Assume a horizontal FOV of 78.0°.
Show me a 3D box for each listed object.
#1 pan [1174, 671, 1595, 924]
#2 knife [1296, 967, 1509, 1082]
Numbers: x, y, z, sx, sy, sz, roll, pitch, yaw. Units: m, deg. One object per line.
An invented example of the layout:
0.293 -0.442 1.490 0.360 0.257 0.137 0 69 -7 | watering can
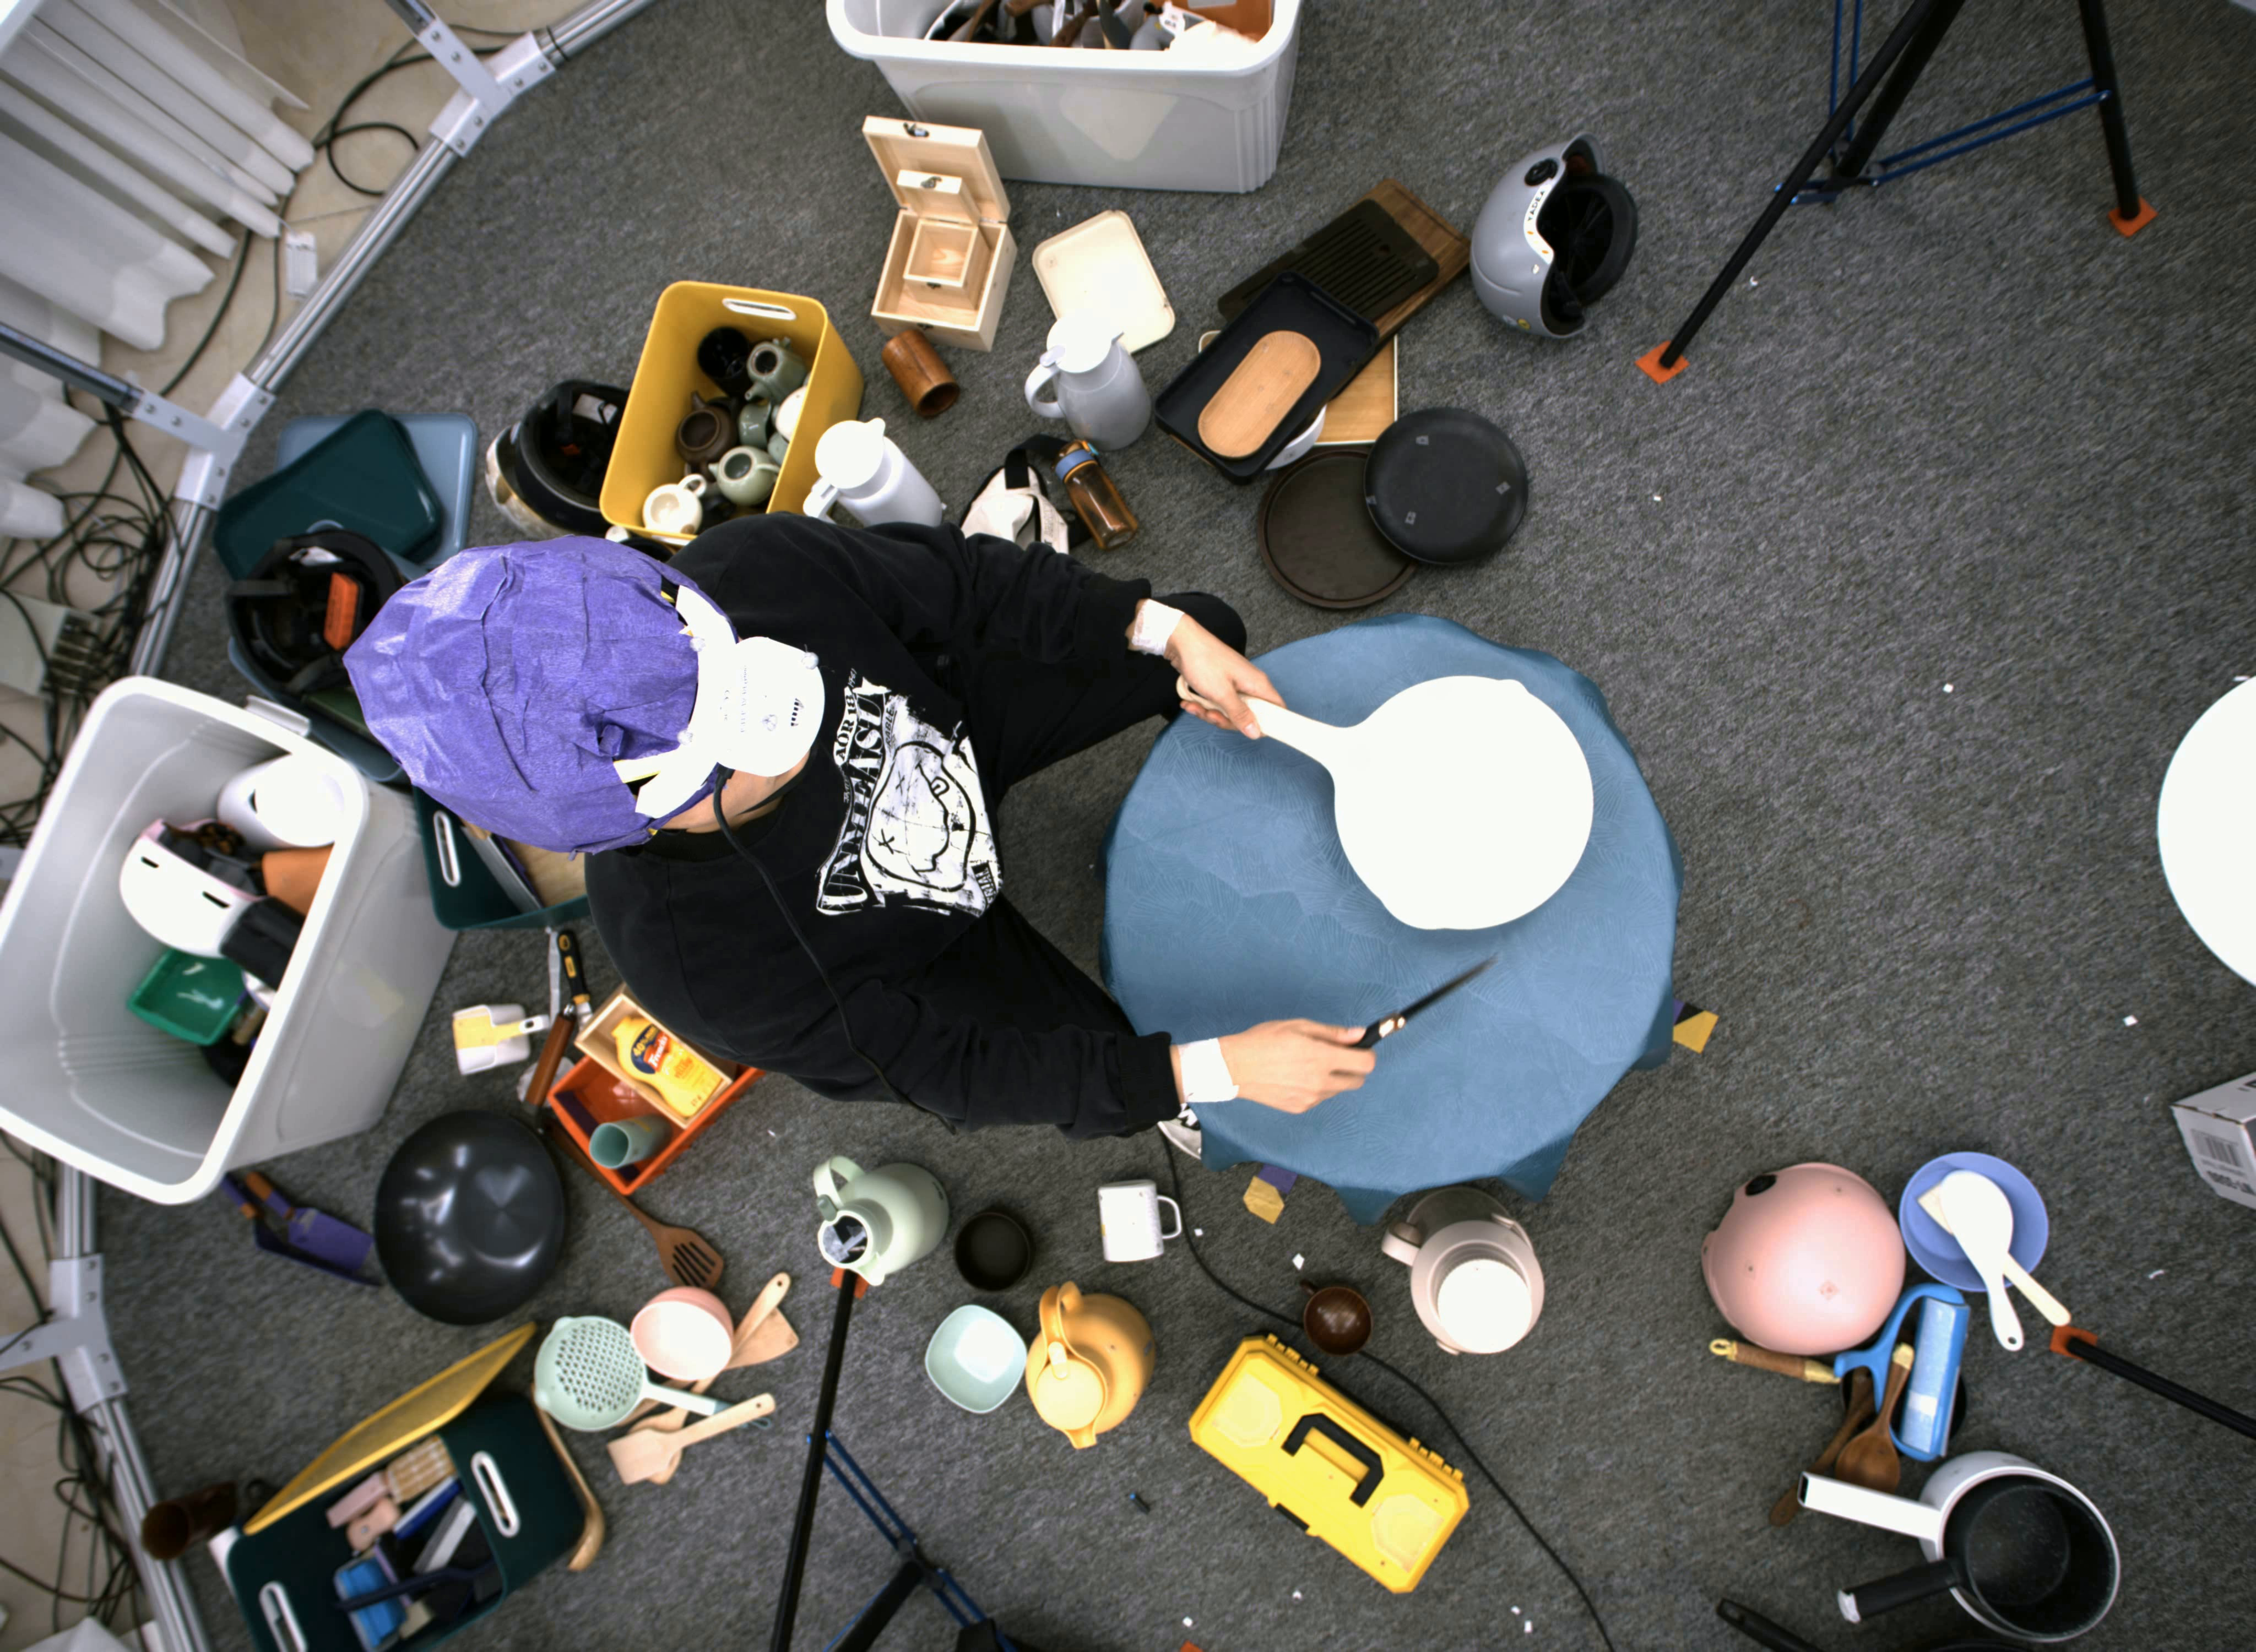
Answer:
0.256 -0.065 1.410 0.435 0.101 0.265 23 97 9 | pan
0.261 0.186 1.318 0.227 0.026 0.017 -30 101 8 | knife
